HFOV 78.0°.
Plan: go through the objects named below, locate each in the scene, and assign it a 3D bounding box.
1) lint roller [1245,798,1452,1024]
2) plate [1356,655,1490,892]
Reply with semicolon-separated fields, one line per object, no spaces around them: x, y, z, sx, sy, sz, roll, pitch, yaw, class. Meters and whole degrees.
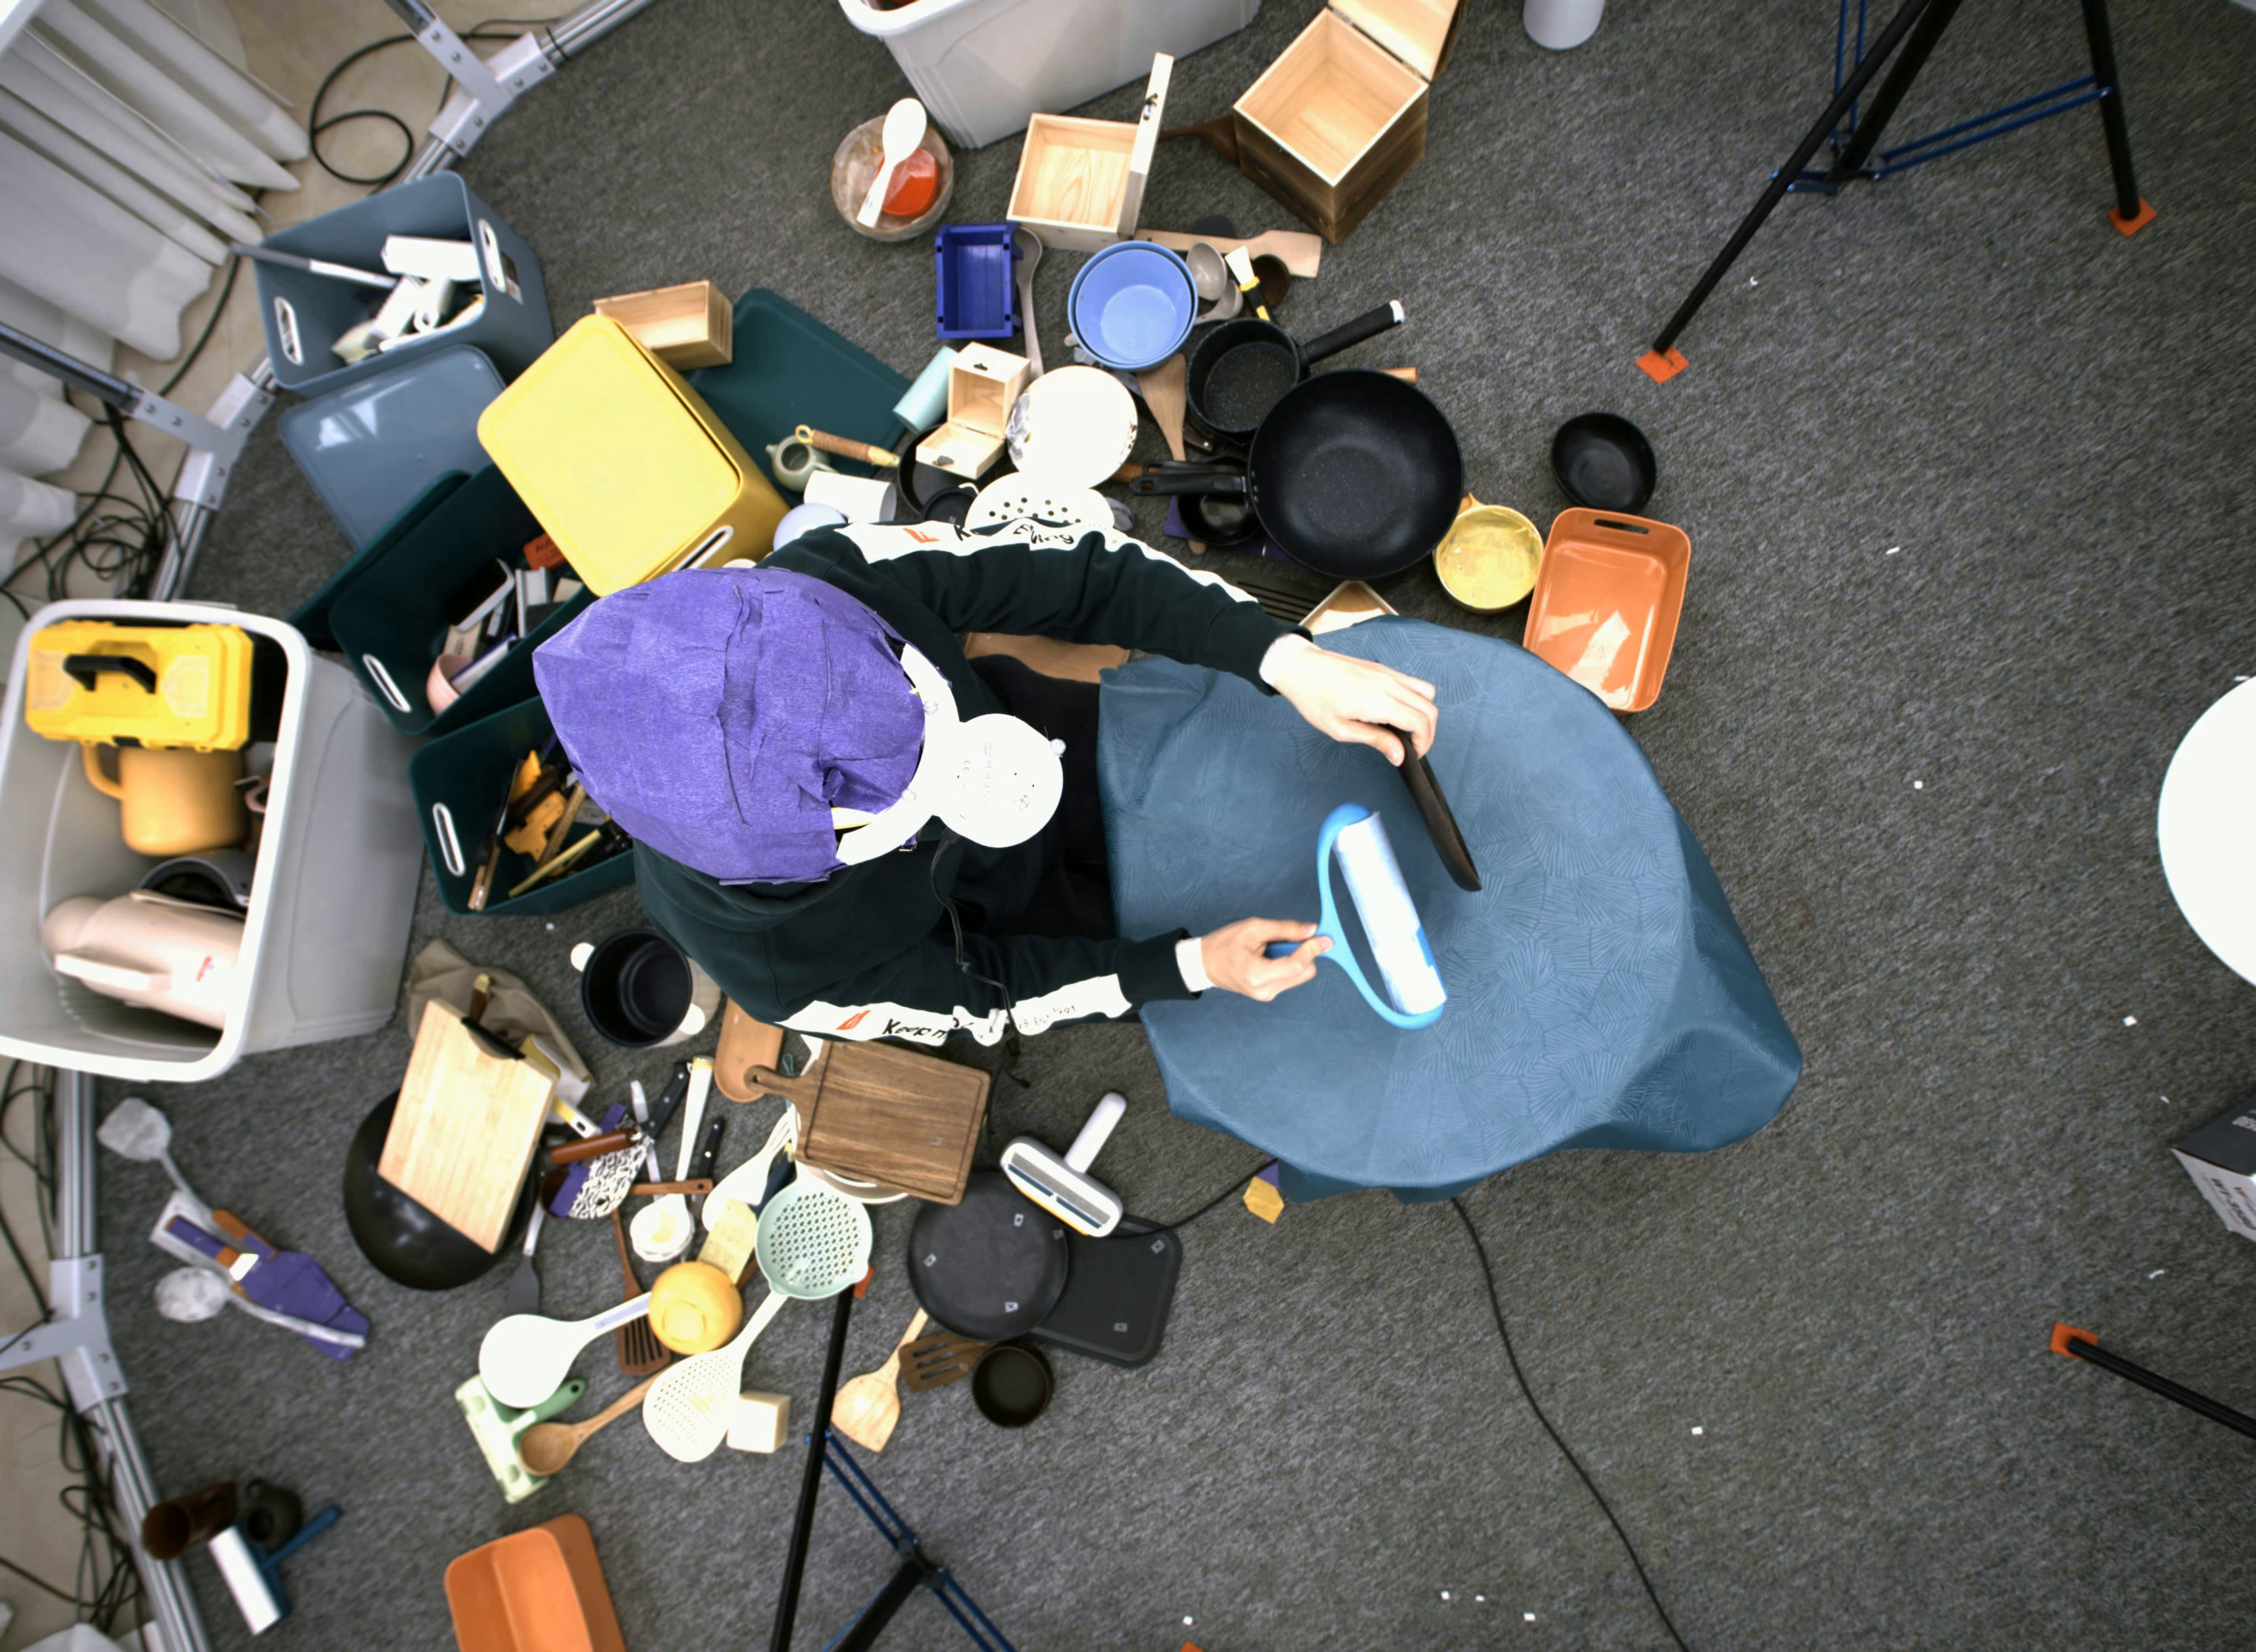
0.198;0.104;1.341;0.182;0.067;0.230;-24;97;12;lint roller
0.283;-0.051;1.333;0.029;0.254;0.253;-26;81;13;plate
